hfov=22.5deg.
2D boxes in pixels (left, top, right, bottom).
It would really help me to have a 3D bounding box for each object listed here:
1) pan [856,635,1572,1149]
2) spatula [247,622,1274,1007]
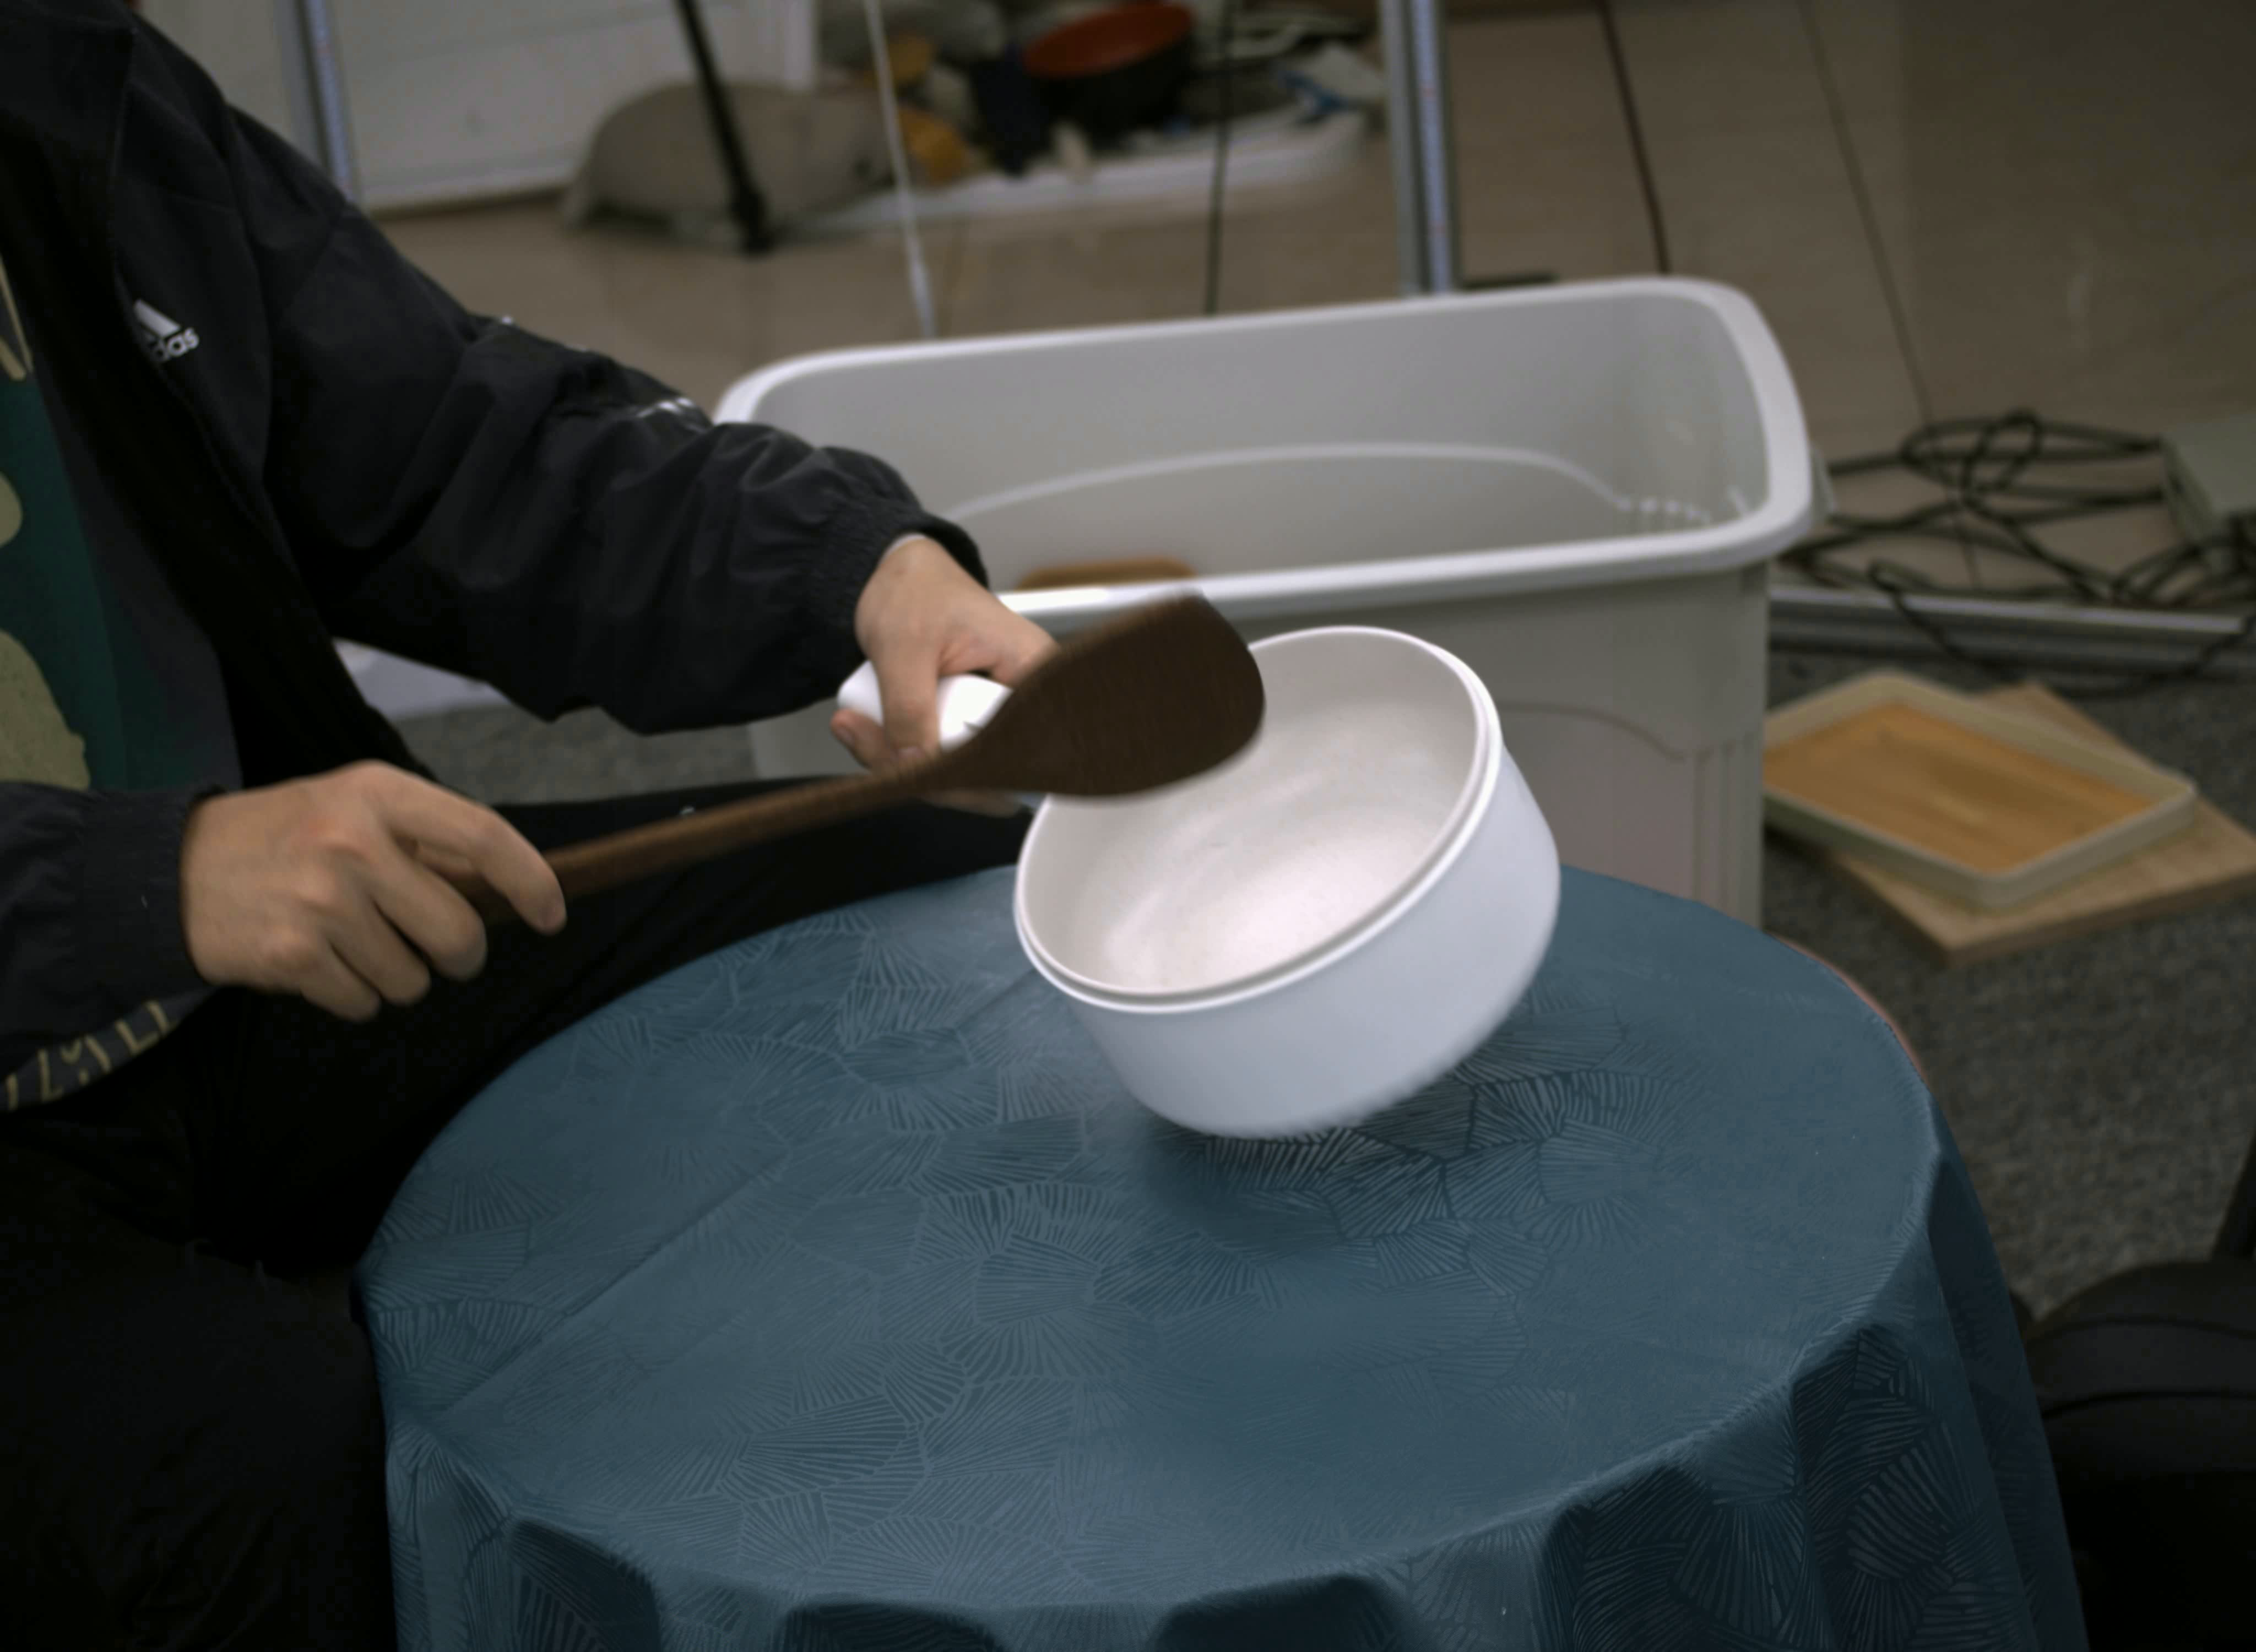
[{"bbox_3d":[0.023,0.012,2.231,0.199,0.104,0.352,-47,38,-18],"label":"pan"},{"bbox_3d":[-0.135,0.006,2.025,0.386,0.098,0.015,-15,52,9],"label":"spatula"}]
